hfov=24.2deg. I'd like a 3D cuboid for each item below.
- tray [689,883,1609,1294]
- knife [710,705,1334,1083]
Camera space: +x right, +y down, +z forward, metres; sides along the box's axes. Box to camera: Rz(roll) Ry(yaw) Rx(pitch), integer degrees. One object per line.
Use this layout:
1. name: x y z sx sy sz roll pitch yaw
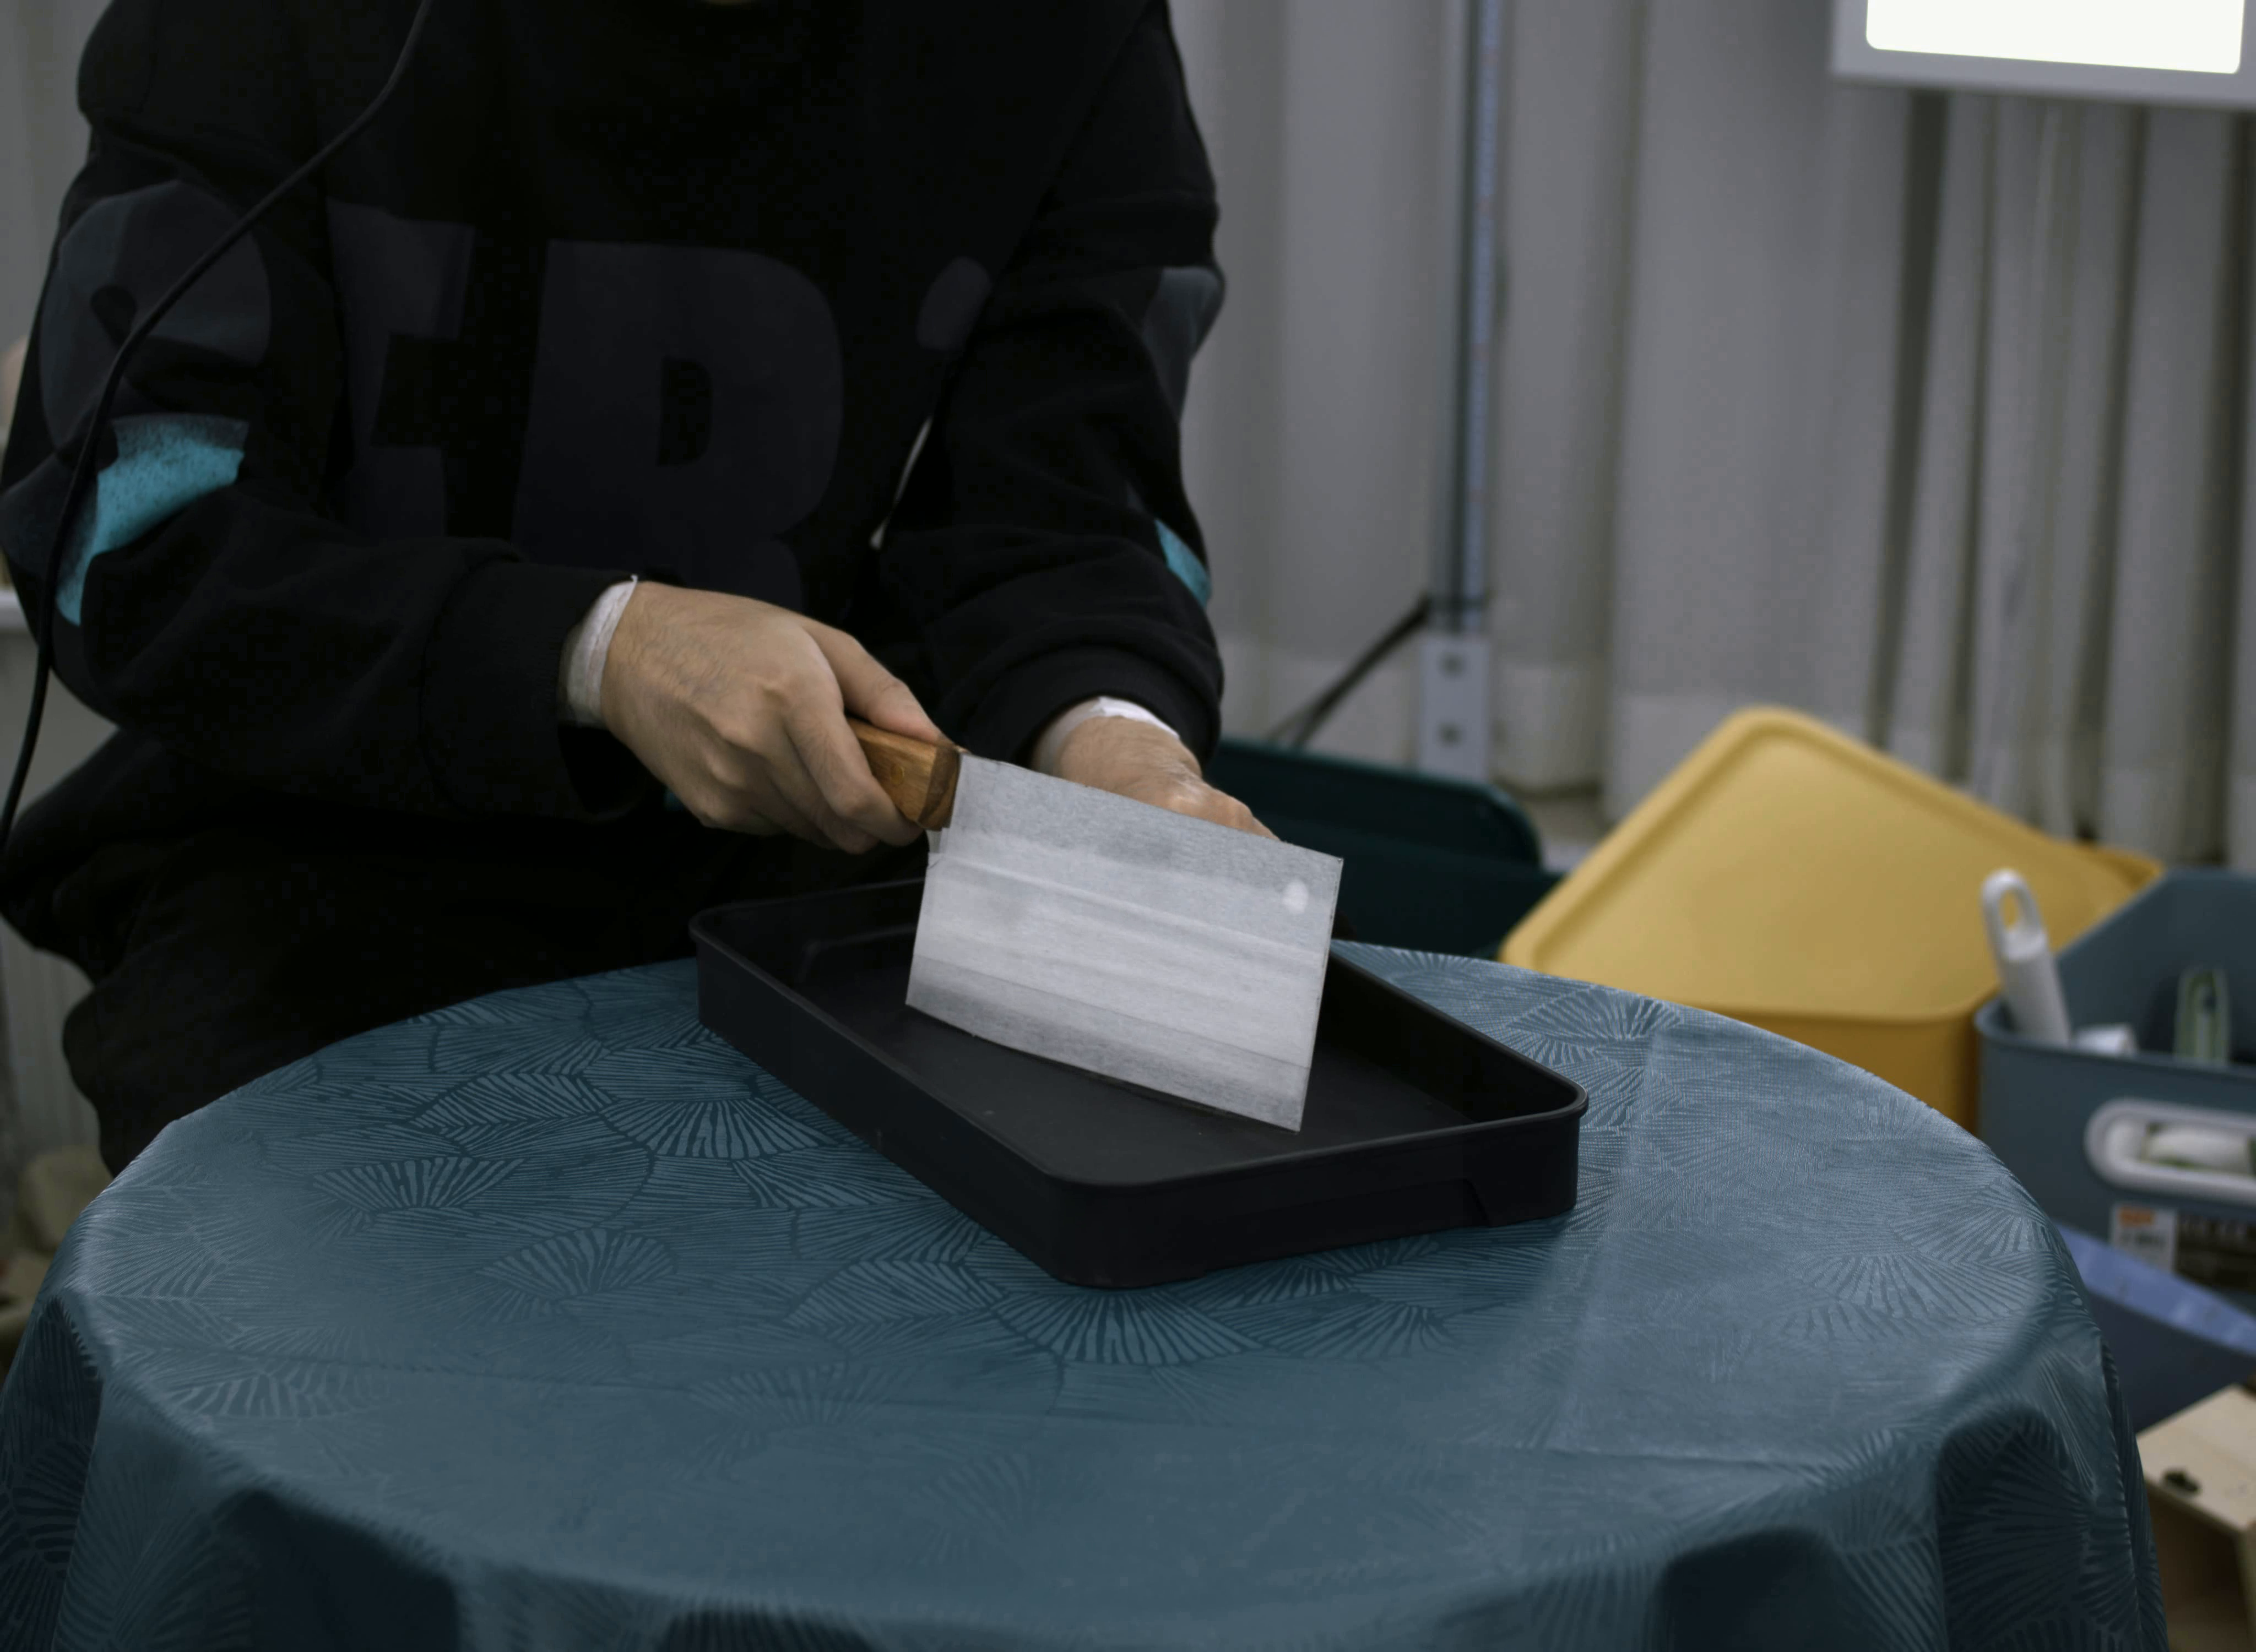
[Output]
1. tray: 0.000 0.074 1.692 0.185 0.037 0.314 -8 18 -28
2. knife: -0.042 0.023 1.745 0.021 0.093 0.301 1 10 -44
